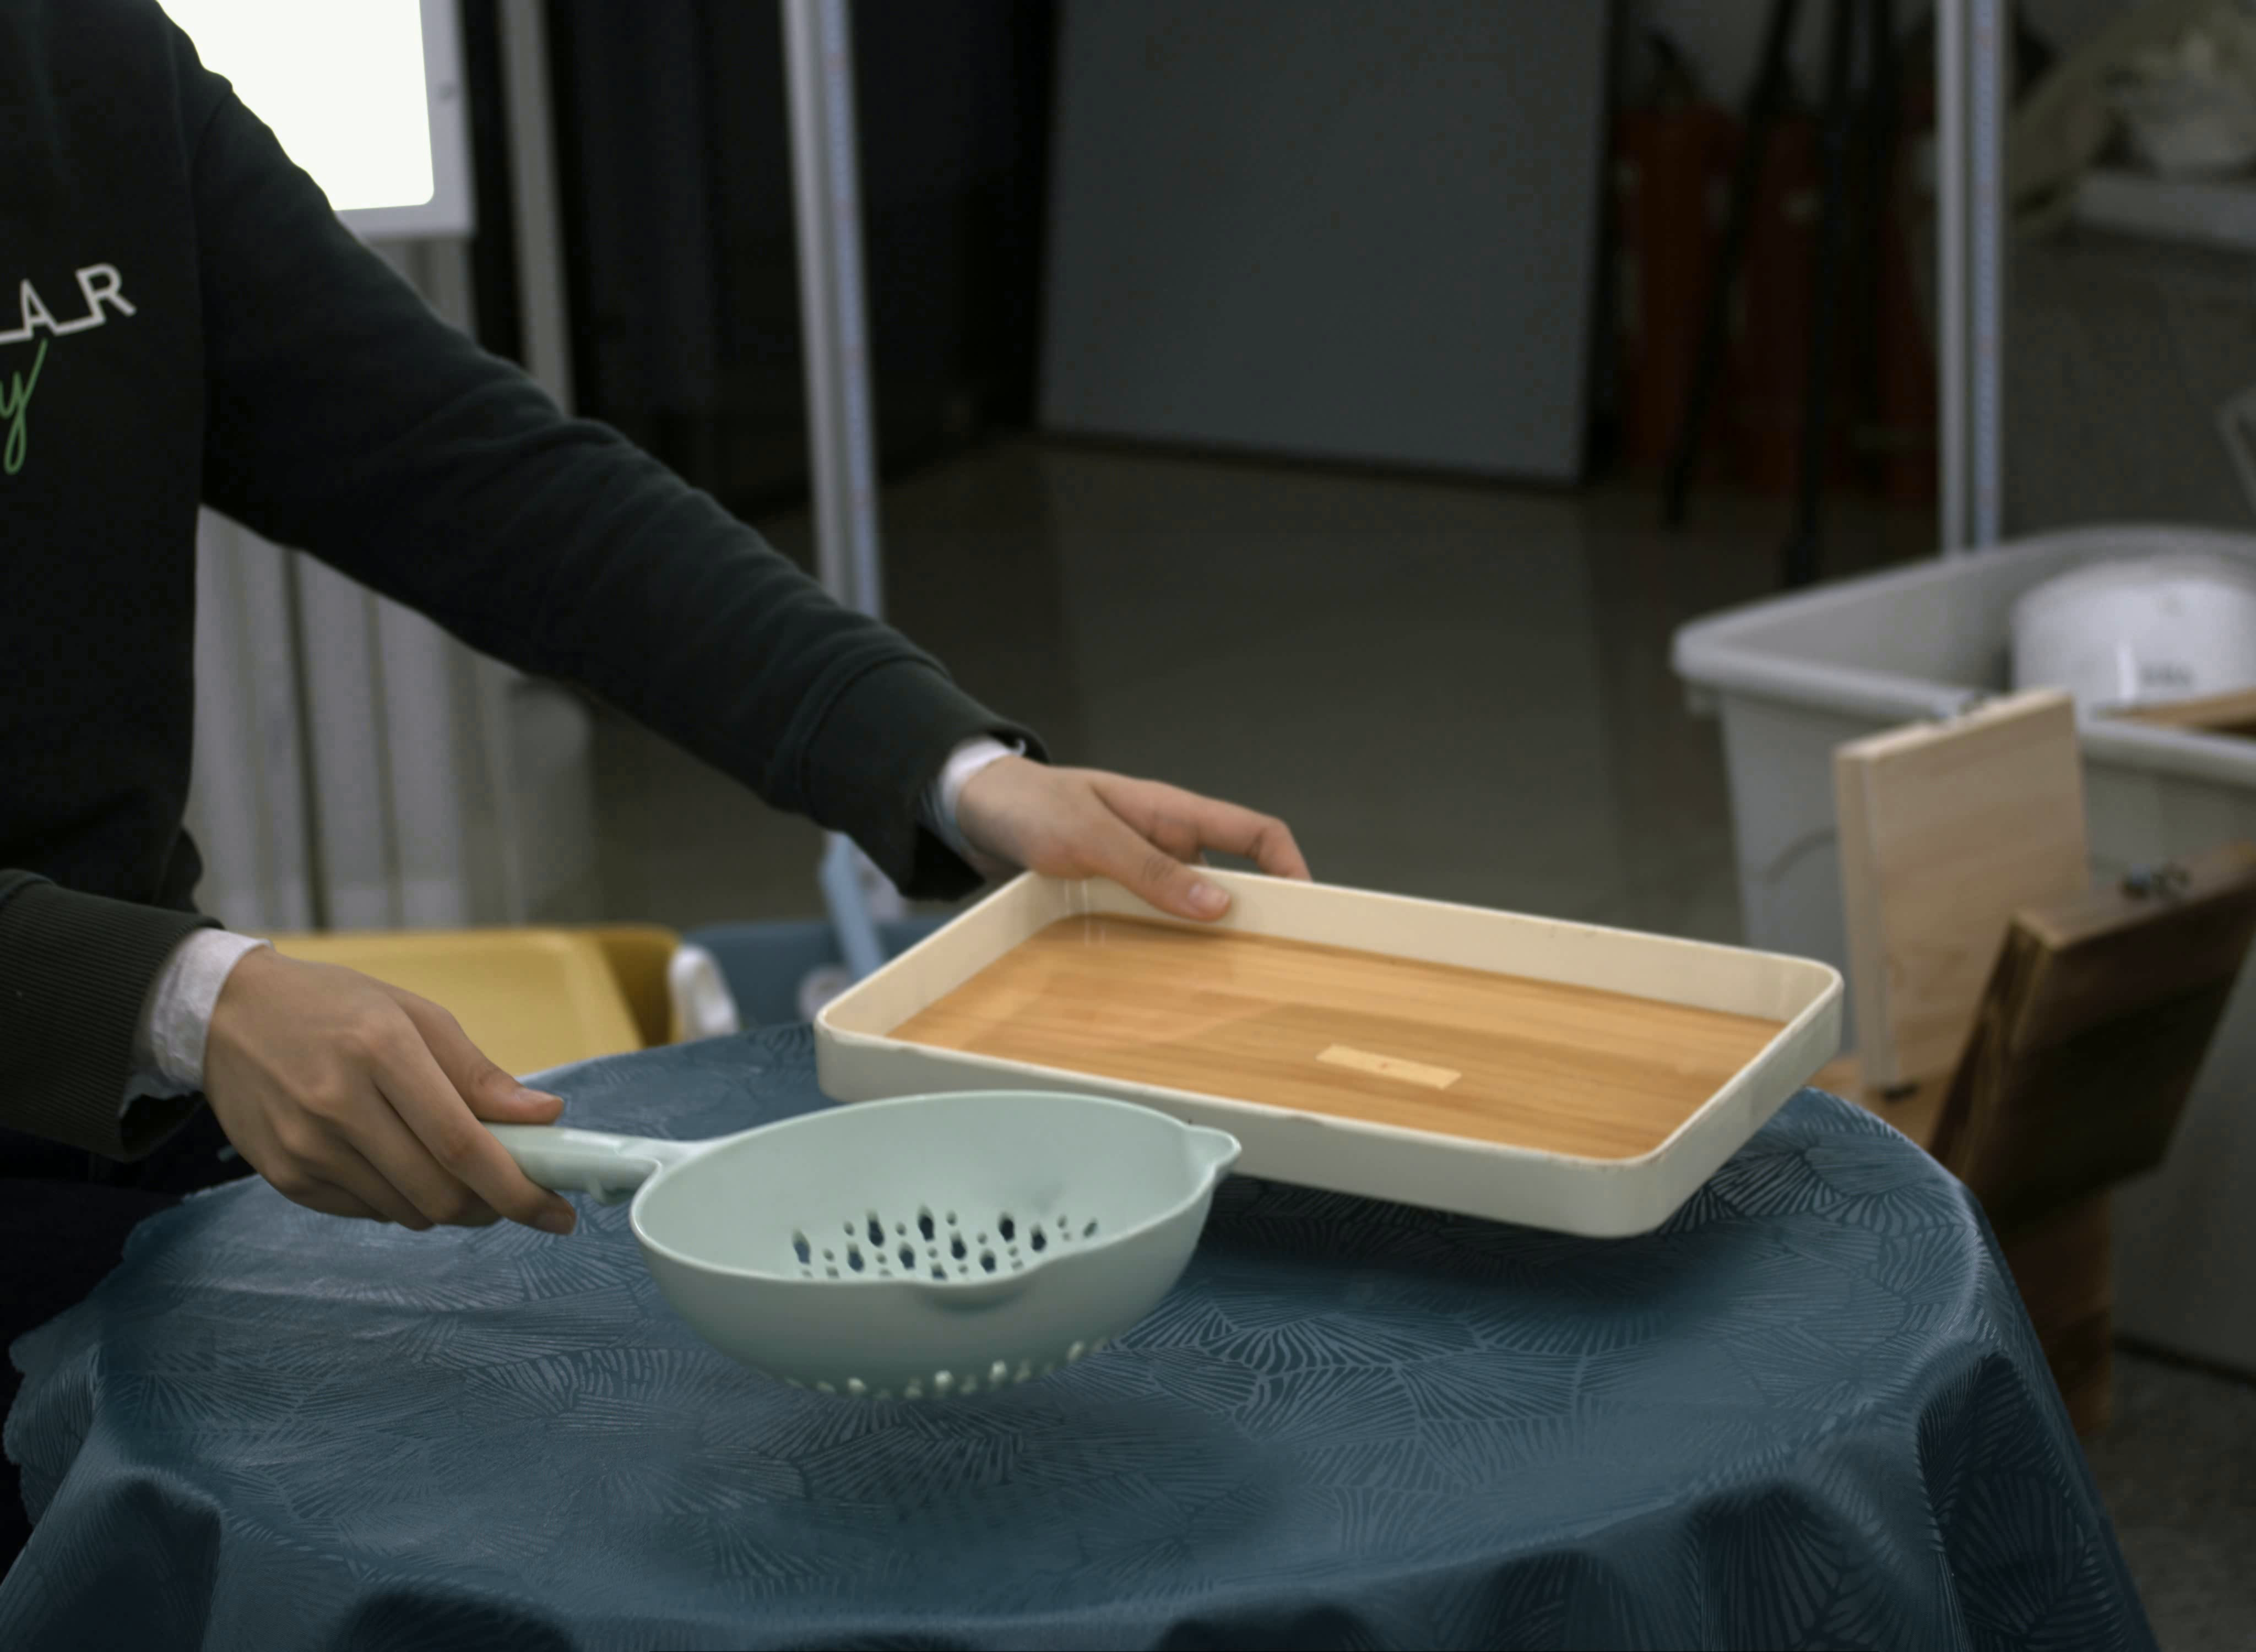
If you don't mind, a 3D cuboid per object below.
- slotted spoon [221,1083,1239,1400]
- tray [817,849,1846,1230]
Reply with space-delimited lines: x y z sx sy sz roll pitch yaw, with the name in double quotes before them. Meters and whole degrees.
"slotted spoon" -0.136 0.106 1.599 0.361 0.076 0.166 13 21 33
"tray" 0.067 0.066 1.756 0.301 0.028 0.189 8 22 28
